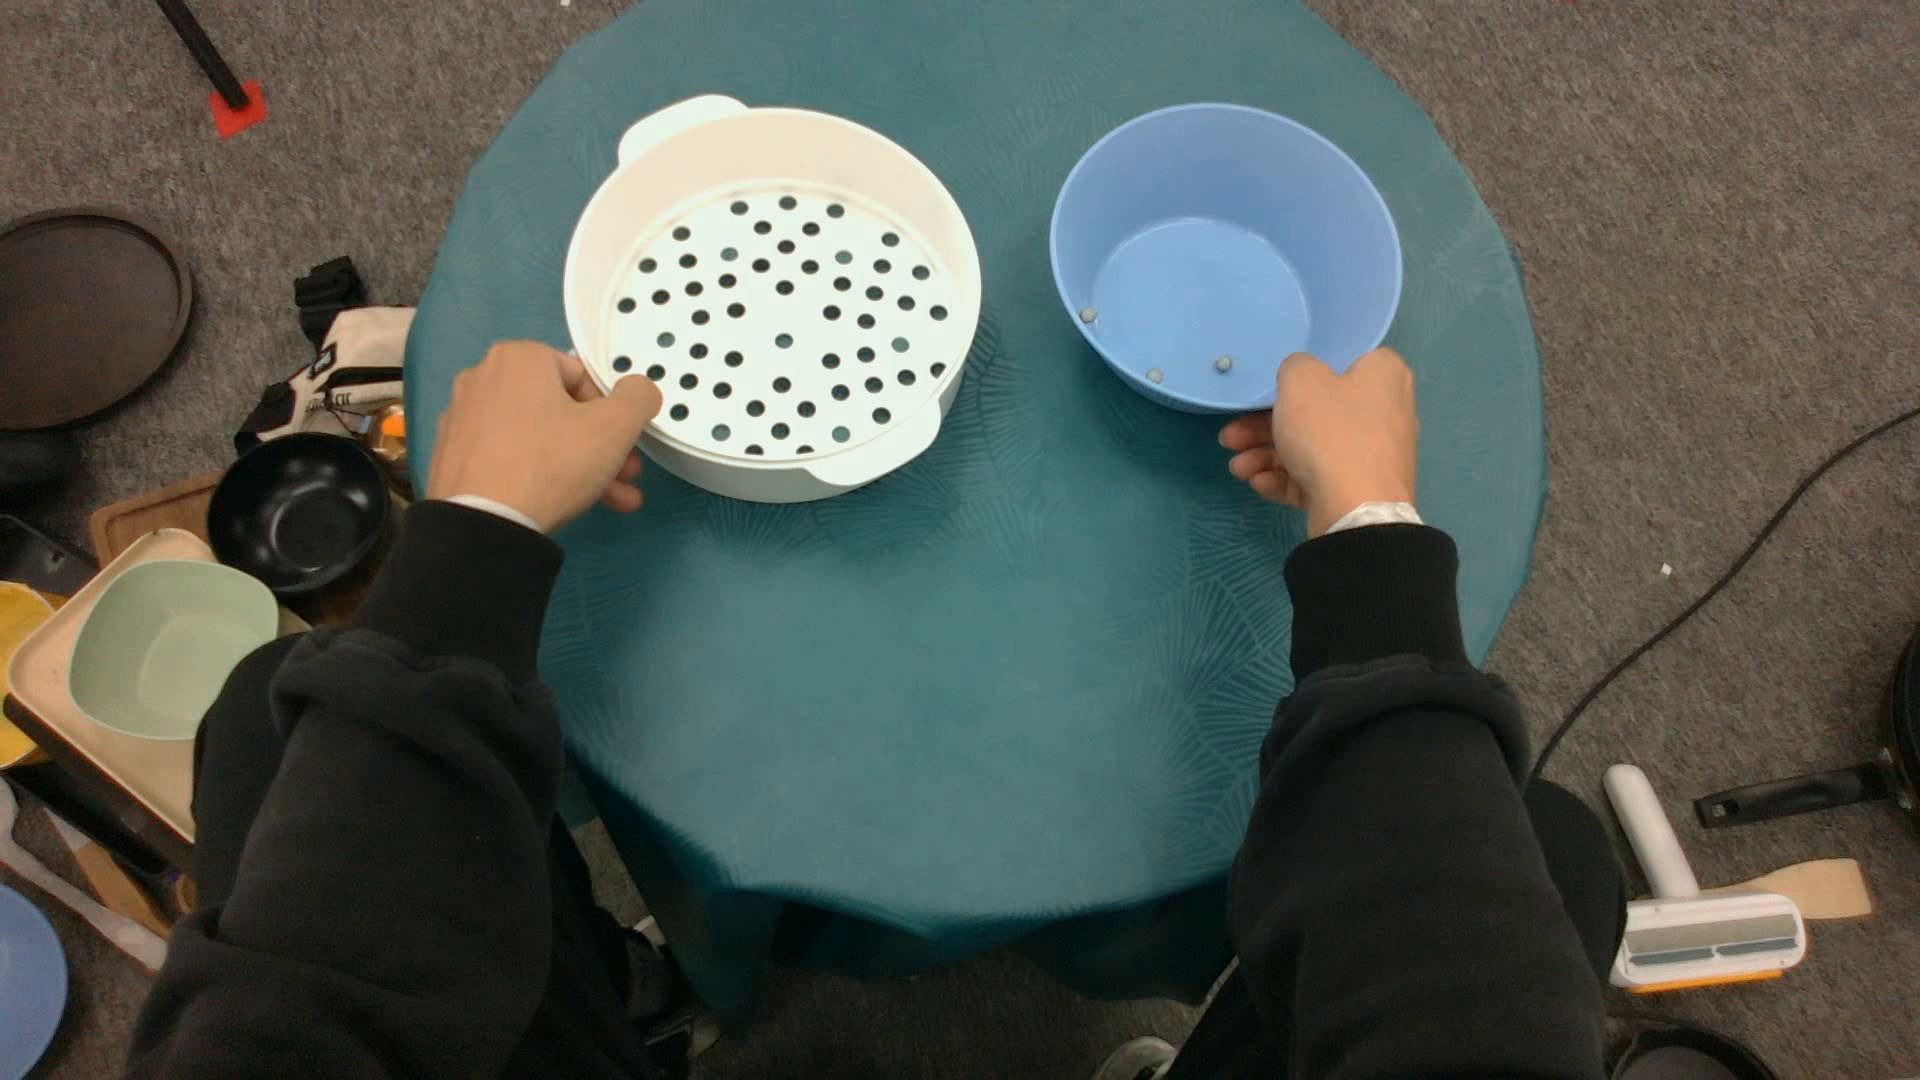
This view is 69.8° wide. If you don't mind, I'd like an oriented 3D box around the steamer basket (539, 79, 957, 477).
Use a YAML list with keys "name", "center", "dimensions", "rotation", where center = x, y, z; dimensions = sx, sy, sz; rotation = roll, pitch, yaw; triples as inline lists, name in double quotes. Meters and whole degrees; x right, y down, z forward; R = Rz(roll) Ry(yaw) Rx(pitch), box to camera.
- name: "steamer basket"
  center: [-0.104, -0.128, 0.696]
  dimensions: [0.202, 0.069, 0.231]
  rotation: [-28, 71, -16]

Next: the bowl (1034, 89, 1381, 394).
- name: "bowl"
  center: [0.123, -0.143, 0.719]
  dimensions: [0.176, 0.070, 0.176]
  rotation: [1, 69, -2]
